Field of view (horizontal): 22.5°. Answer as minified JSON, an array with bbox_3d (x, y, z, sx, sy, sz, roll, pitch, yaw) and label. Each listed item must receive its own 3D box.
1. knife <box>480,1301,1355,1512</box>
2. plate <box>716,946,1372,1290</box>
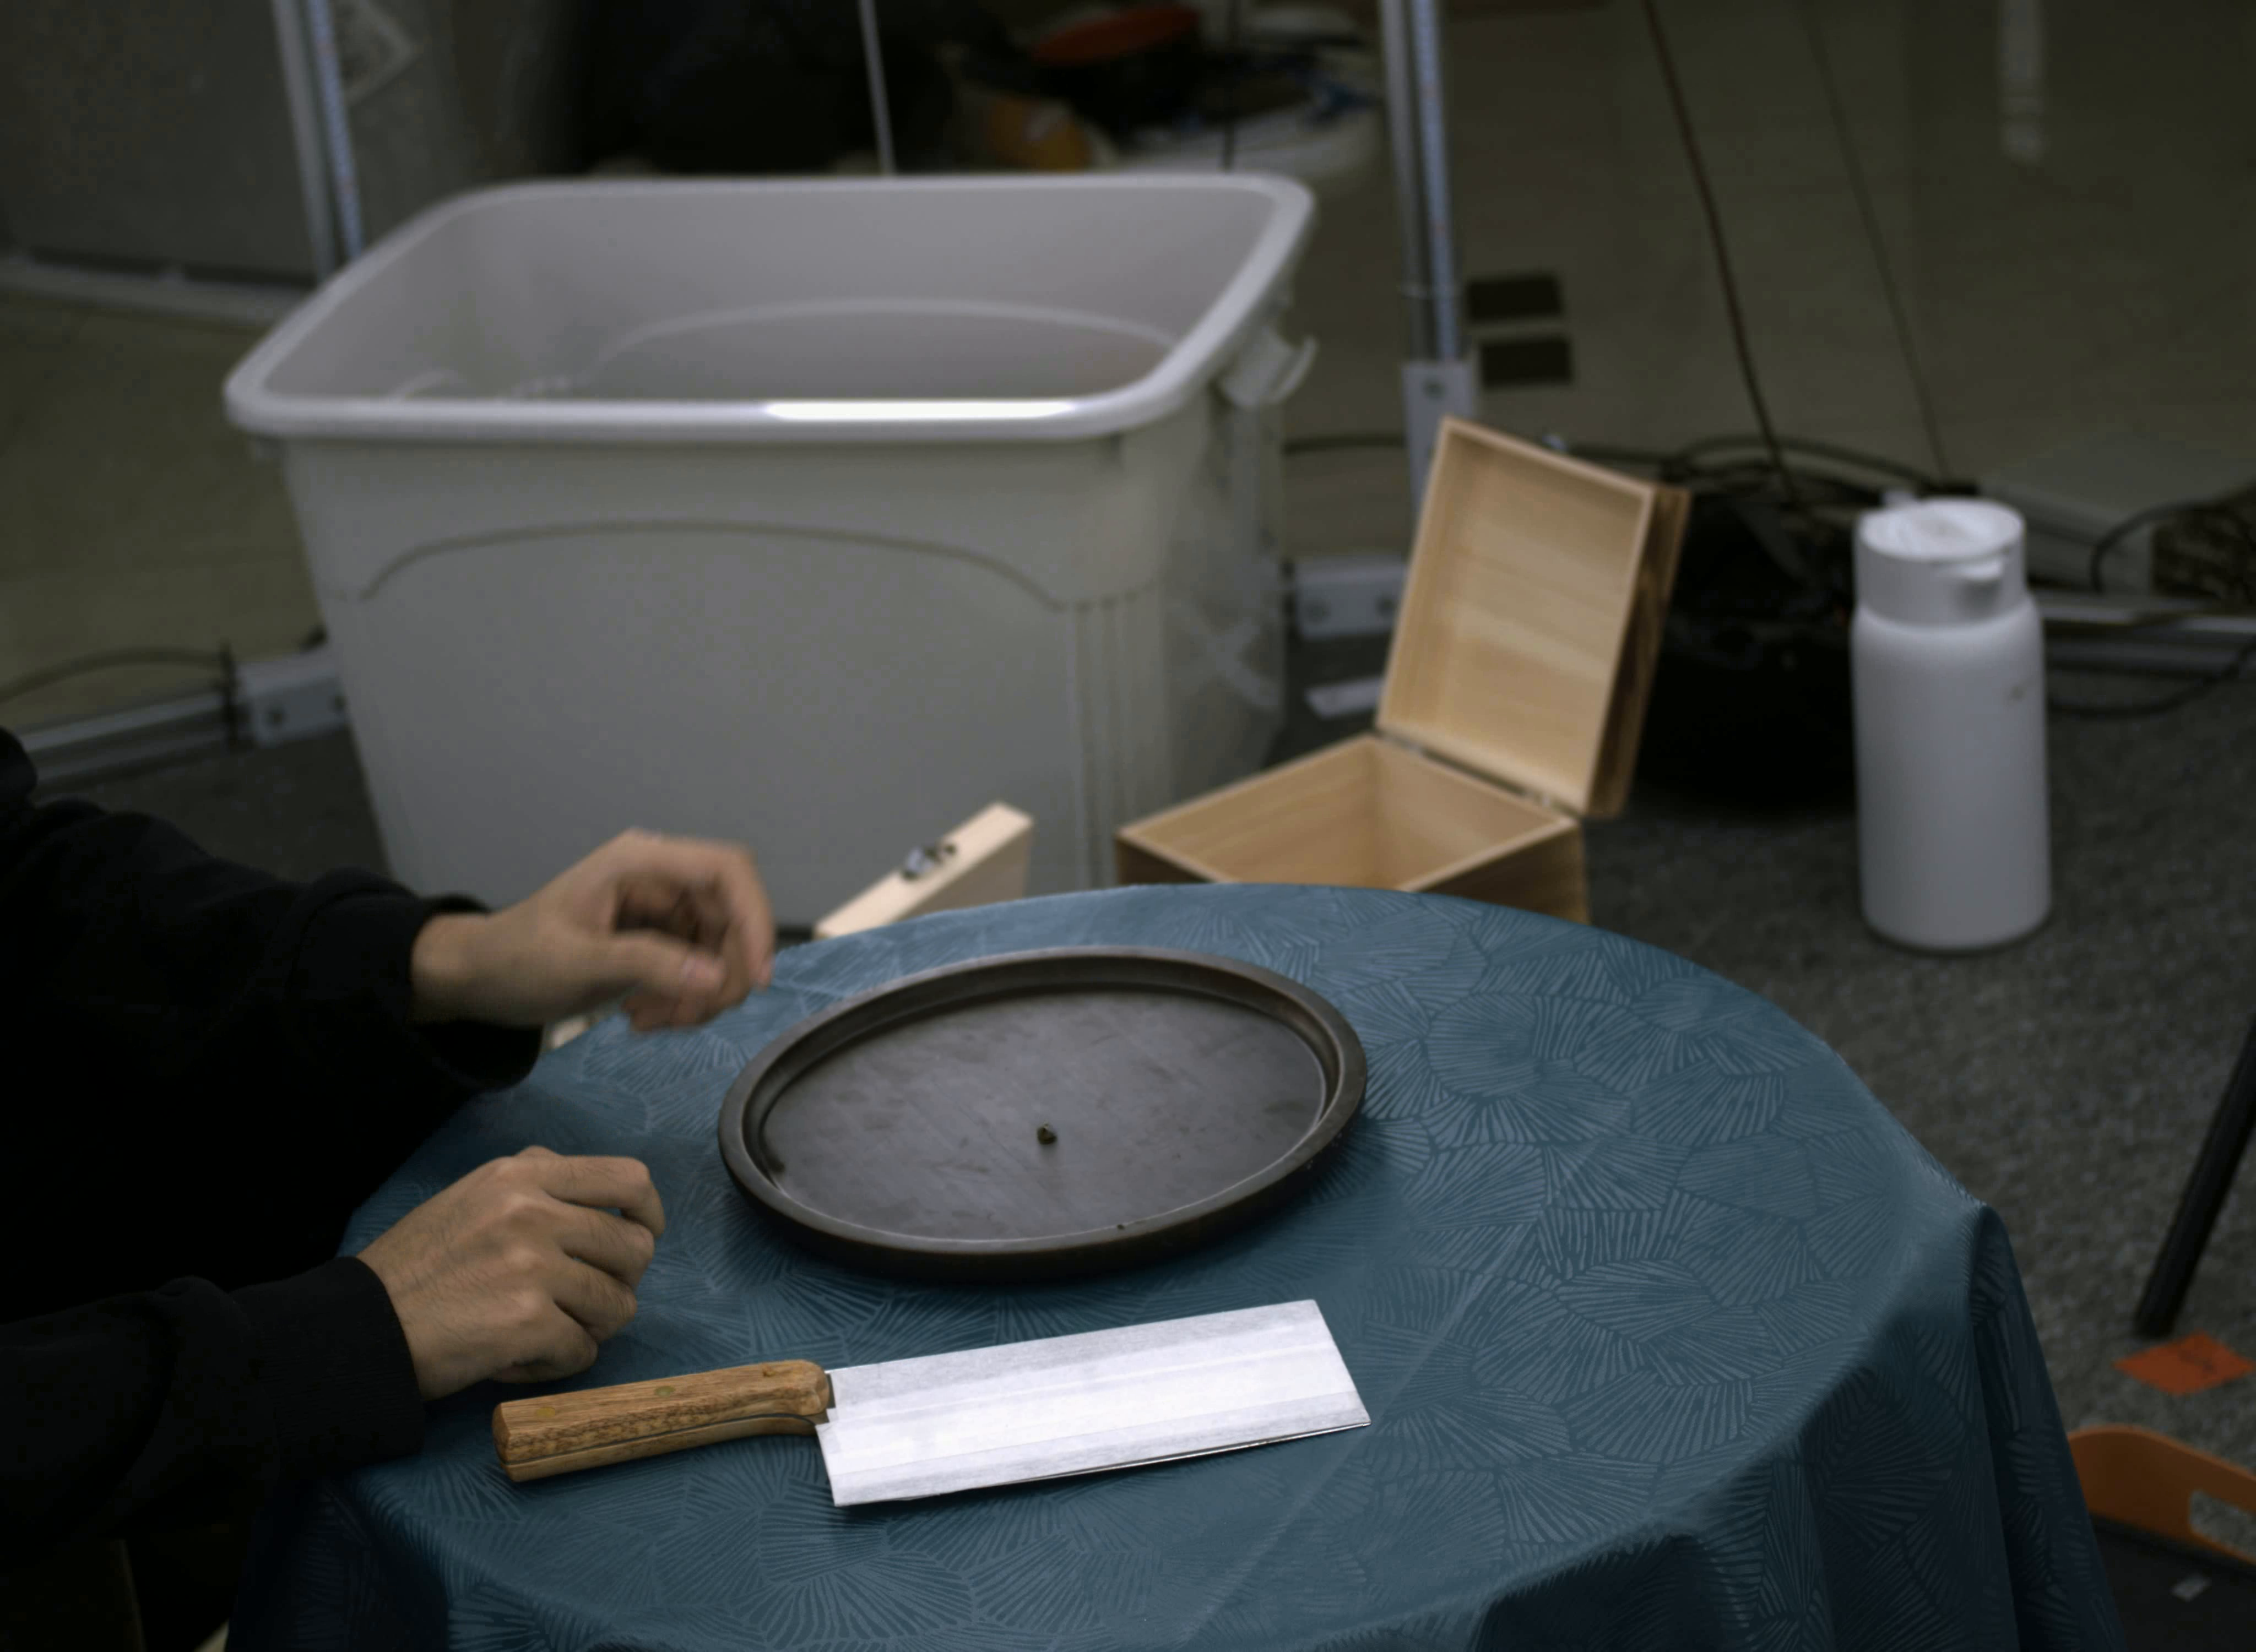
[{"bbox_3d":[-0.073,0.210,1.996,0.305,0.021,0.091,-8,27,-8],"label":"knife"},{"bbox_3d":[-0.032,0.111,2.185,0.254,0.029,0.251,-4,27,2],"label":"plate"}]
